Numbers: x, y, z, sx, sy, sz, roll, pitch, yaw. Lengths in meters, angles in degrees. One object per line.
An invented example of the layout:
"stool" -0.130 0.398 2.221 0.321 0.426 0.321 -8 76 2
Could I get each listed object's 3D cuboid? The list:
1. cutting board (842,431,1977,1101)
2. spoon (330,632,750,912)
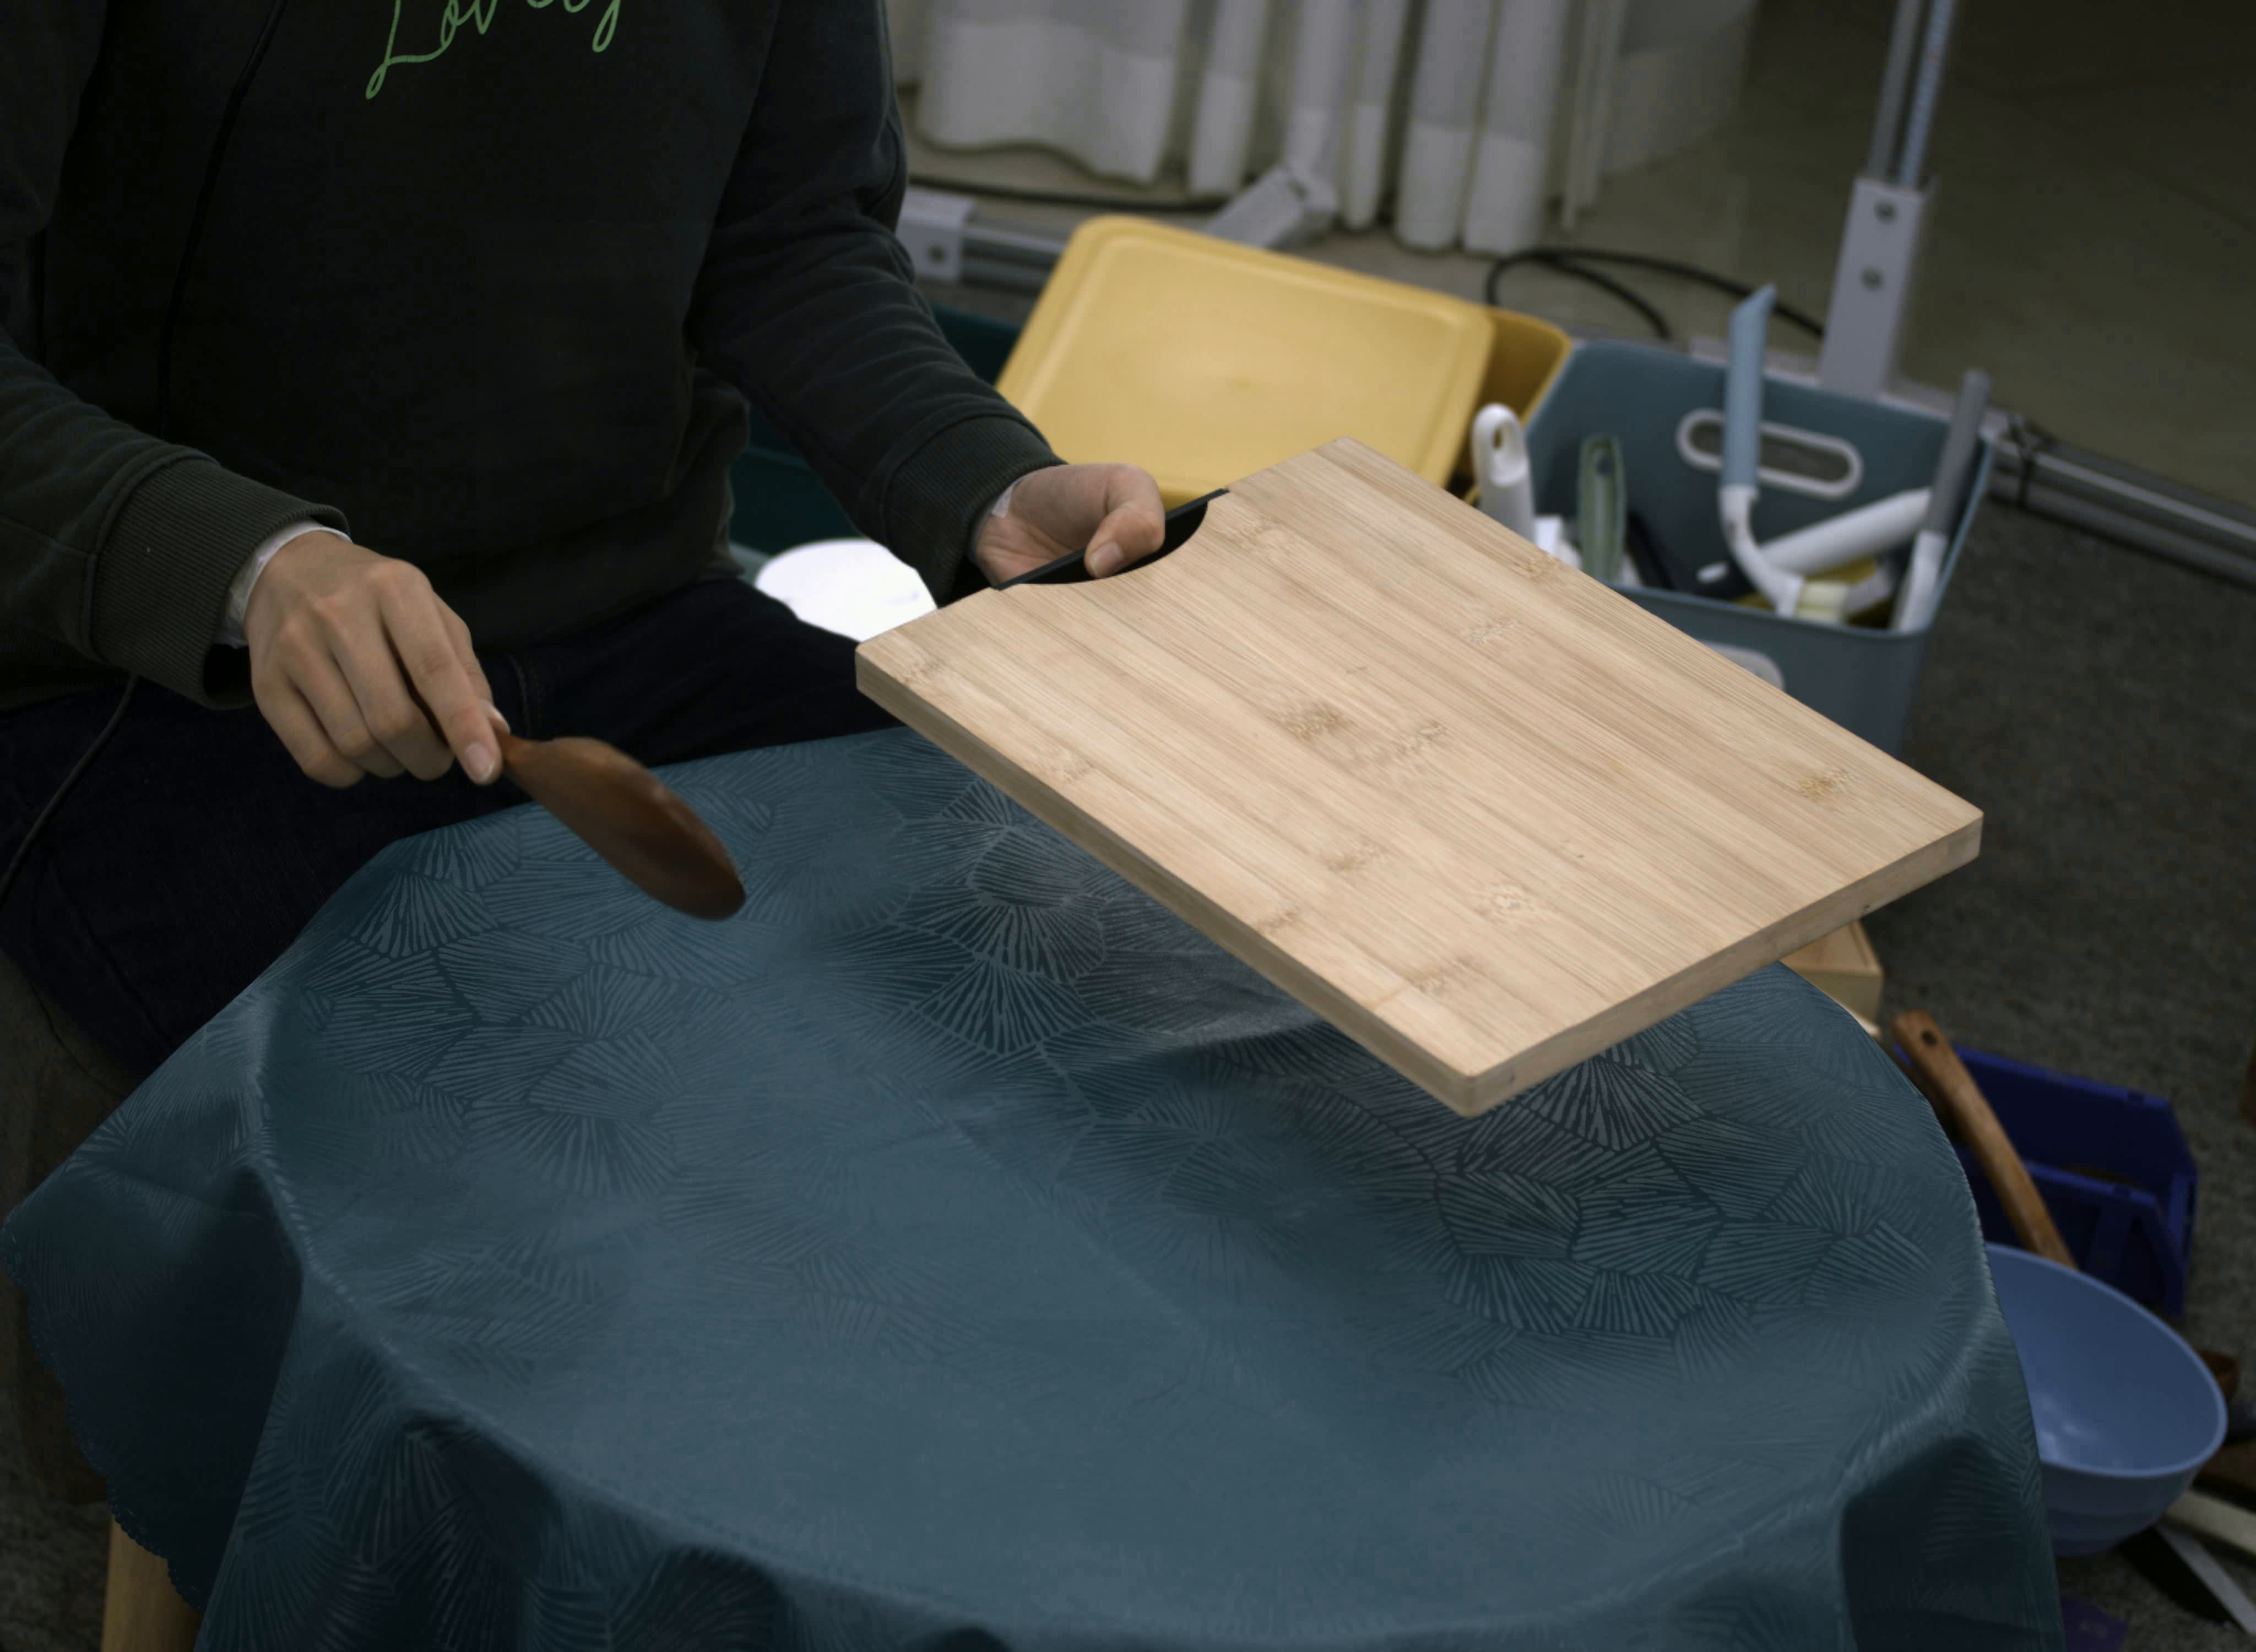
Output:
"cutting board" 0.094 -0.030 1.895 0.250 0.023 0.351 -25 40 -31
"spoon" -0.199 -0.021 1.757 0.017 0.075 0.217 -45 45 -18
